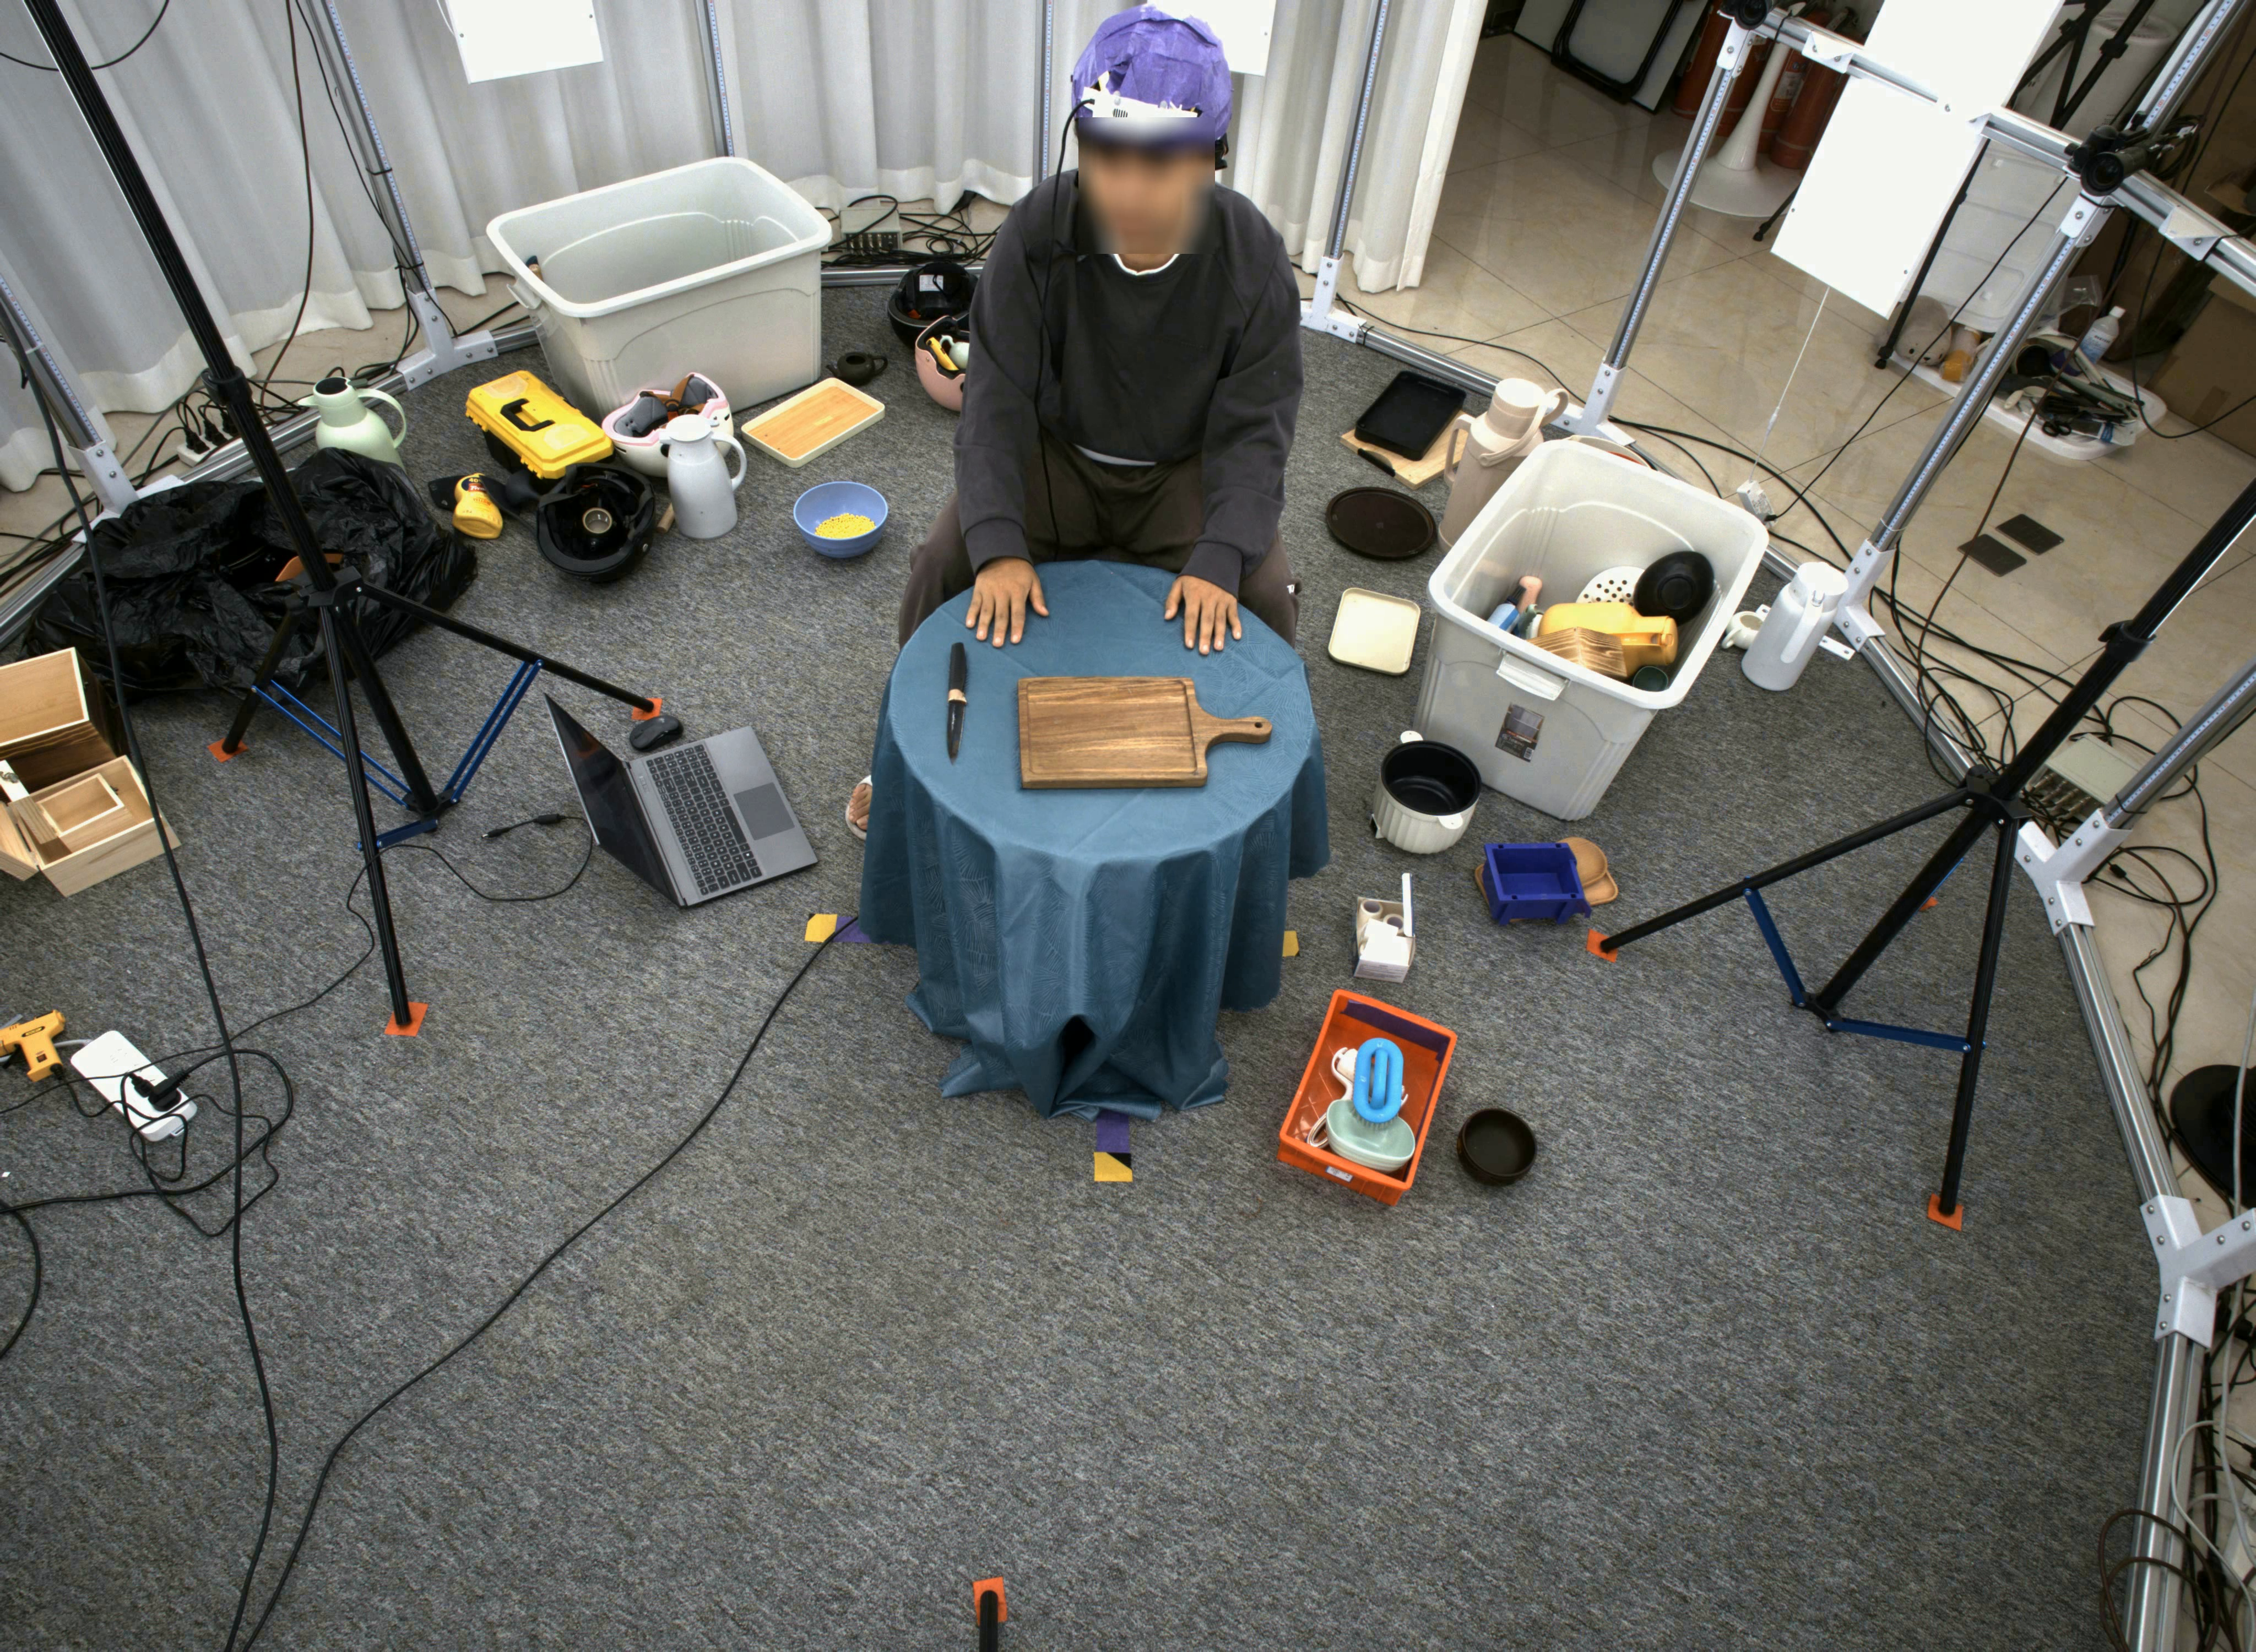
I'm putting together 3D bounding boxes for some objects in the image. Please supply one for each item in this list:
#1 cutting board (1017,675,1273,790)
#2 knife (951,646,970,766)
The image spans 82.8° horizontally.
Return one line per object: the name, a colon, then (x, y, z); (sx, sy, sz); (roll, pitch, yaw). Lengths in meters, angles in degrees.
cutting board: (0.026, -0.132, 1.768); (0.351, 0.022, 0.206); (-1, 49, -5)
knife: (-0.233, -0.169, 1.788); (0.026, 0.017, 0.231); (4, 49, -8)
